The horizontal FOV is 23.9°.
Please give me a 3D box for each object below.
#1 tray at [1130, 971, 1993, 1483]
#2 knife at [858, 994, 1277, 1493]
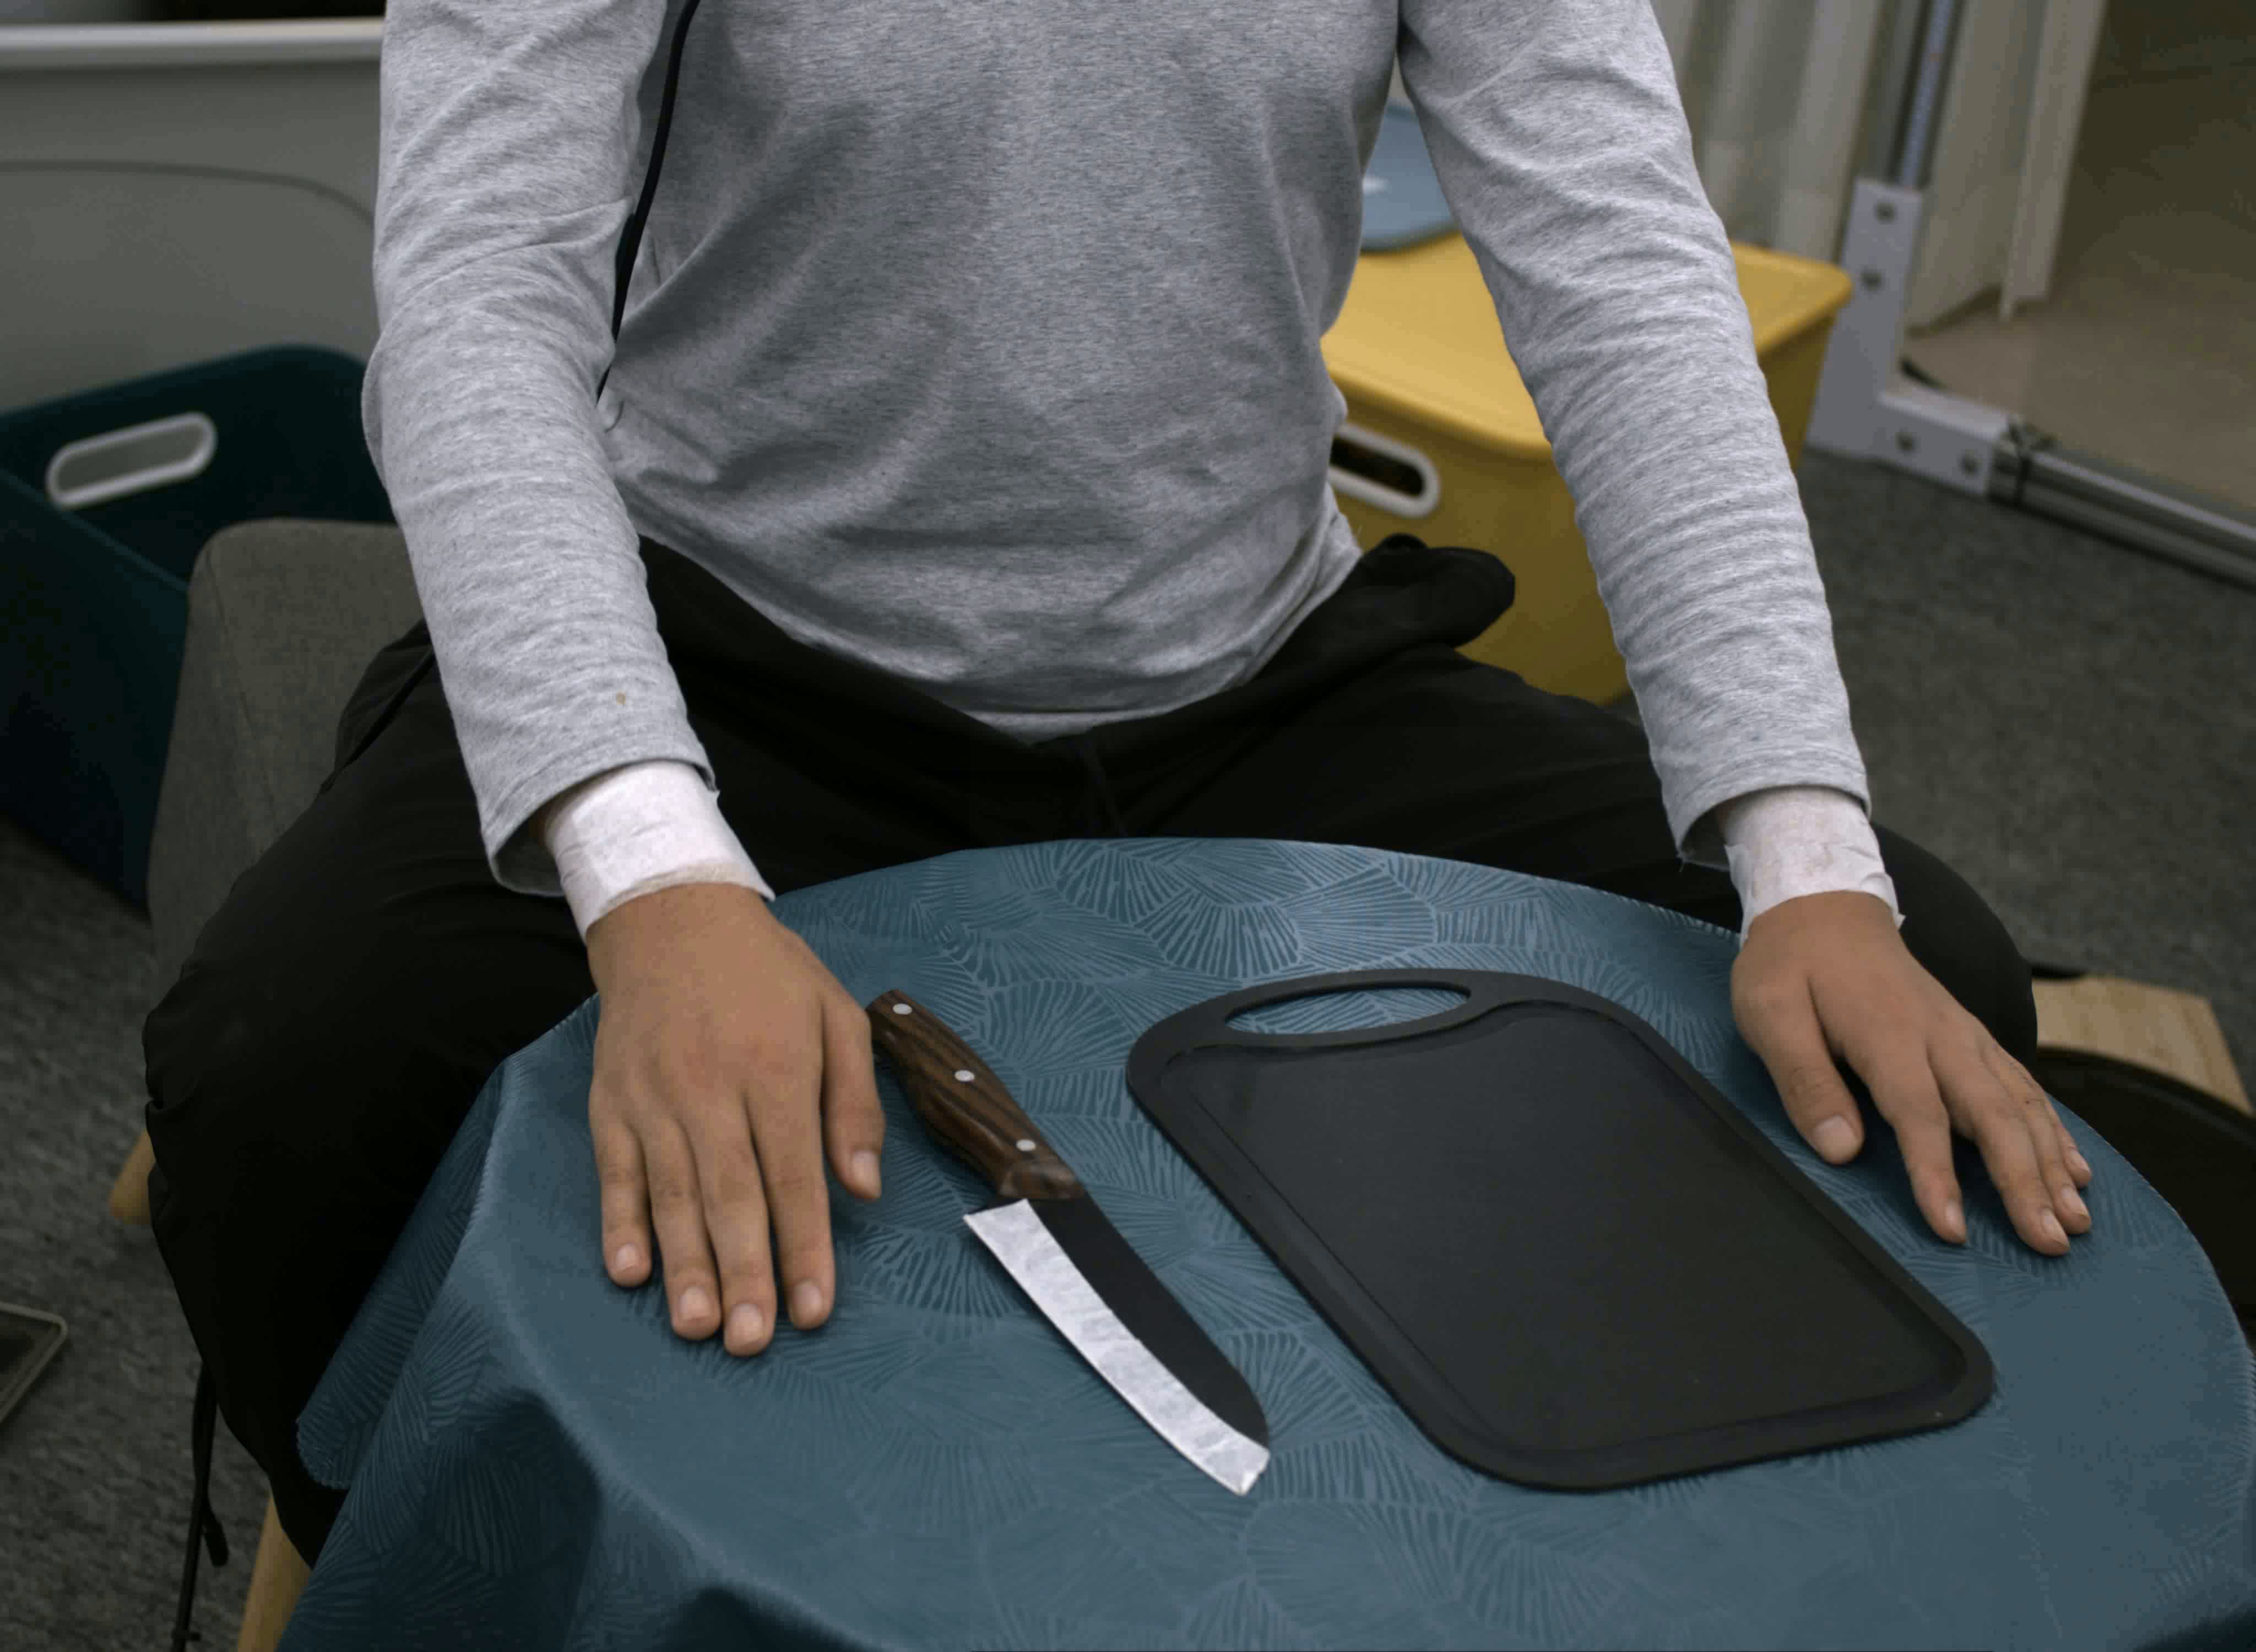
[{"bbox_3d":[0.139,0.128,1.823,0.210,0.010,0.328,-6,29,-24],"label":"tray"},{"bbox_3d":[-0.023,0.136,1.759,0.050,0.020,0.292,-12,34,-23],"label":"knife"}]
